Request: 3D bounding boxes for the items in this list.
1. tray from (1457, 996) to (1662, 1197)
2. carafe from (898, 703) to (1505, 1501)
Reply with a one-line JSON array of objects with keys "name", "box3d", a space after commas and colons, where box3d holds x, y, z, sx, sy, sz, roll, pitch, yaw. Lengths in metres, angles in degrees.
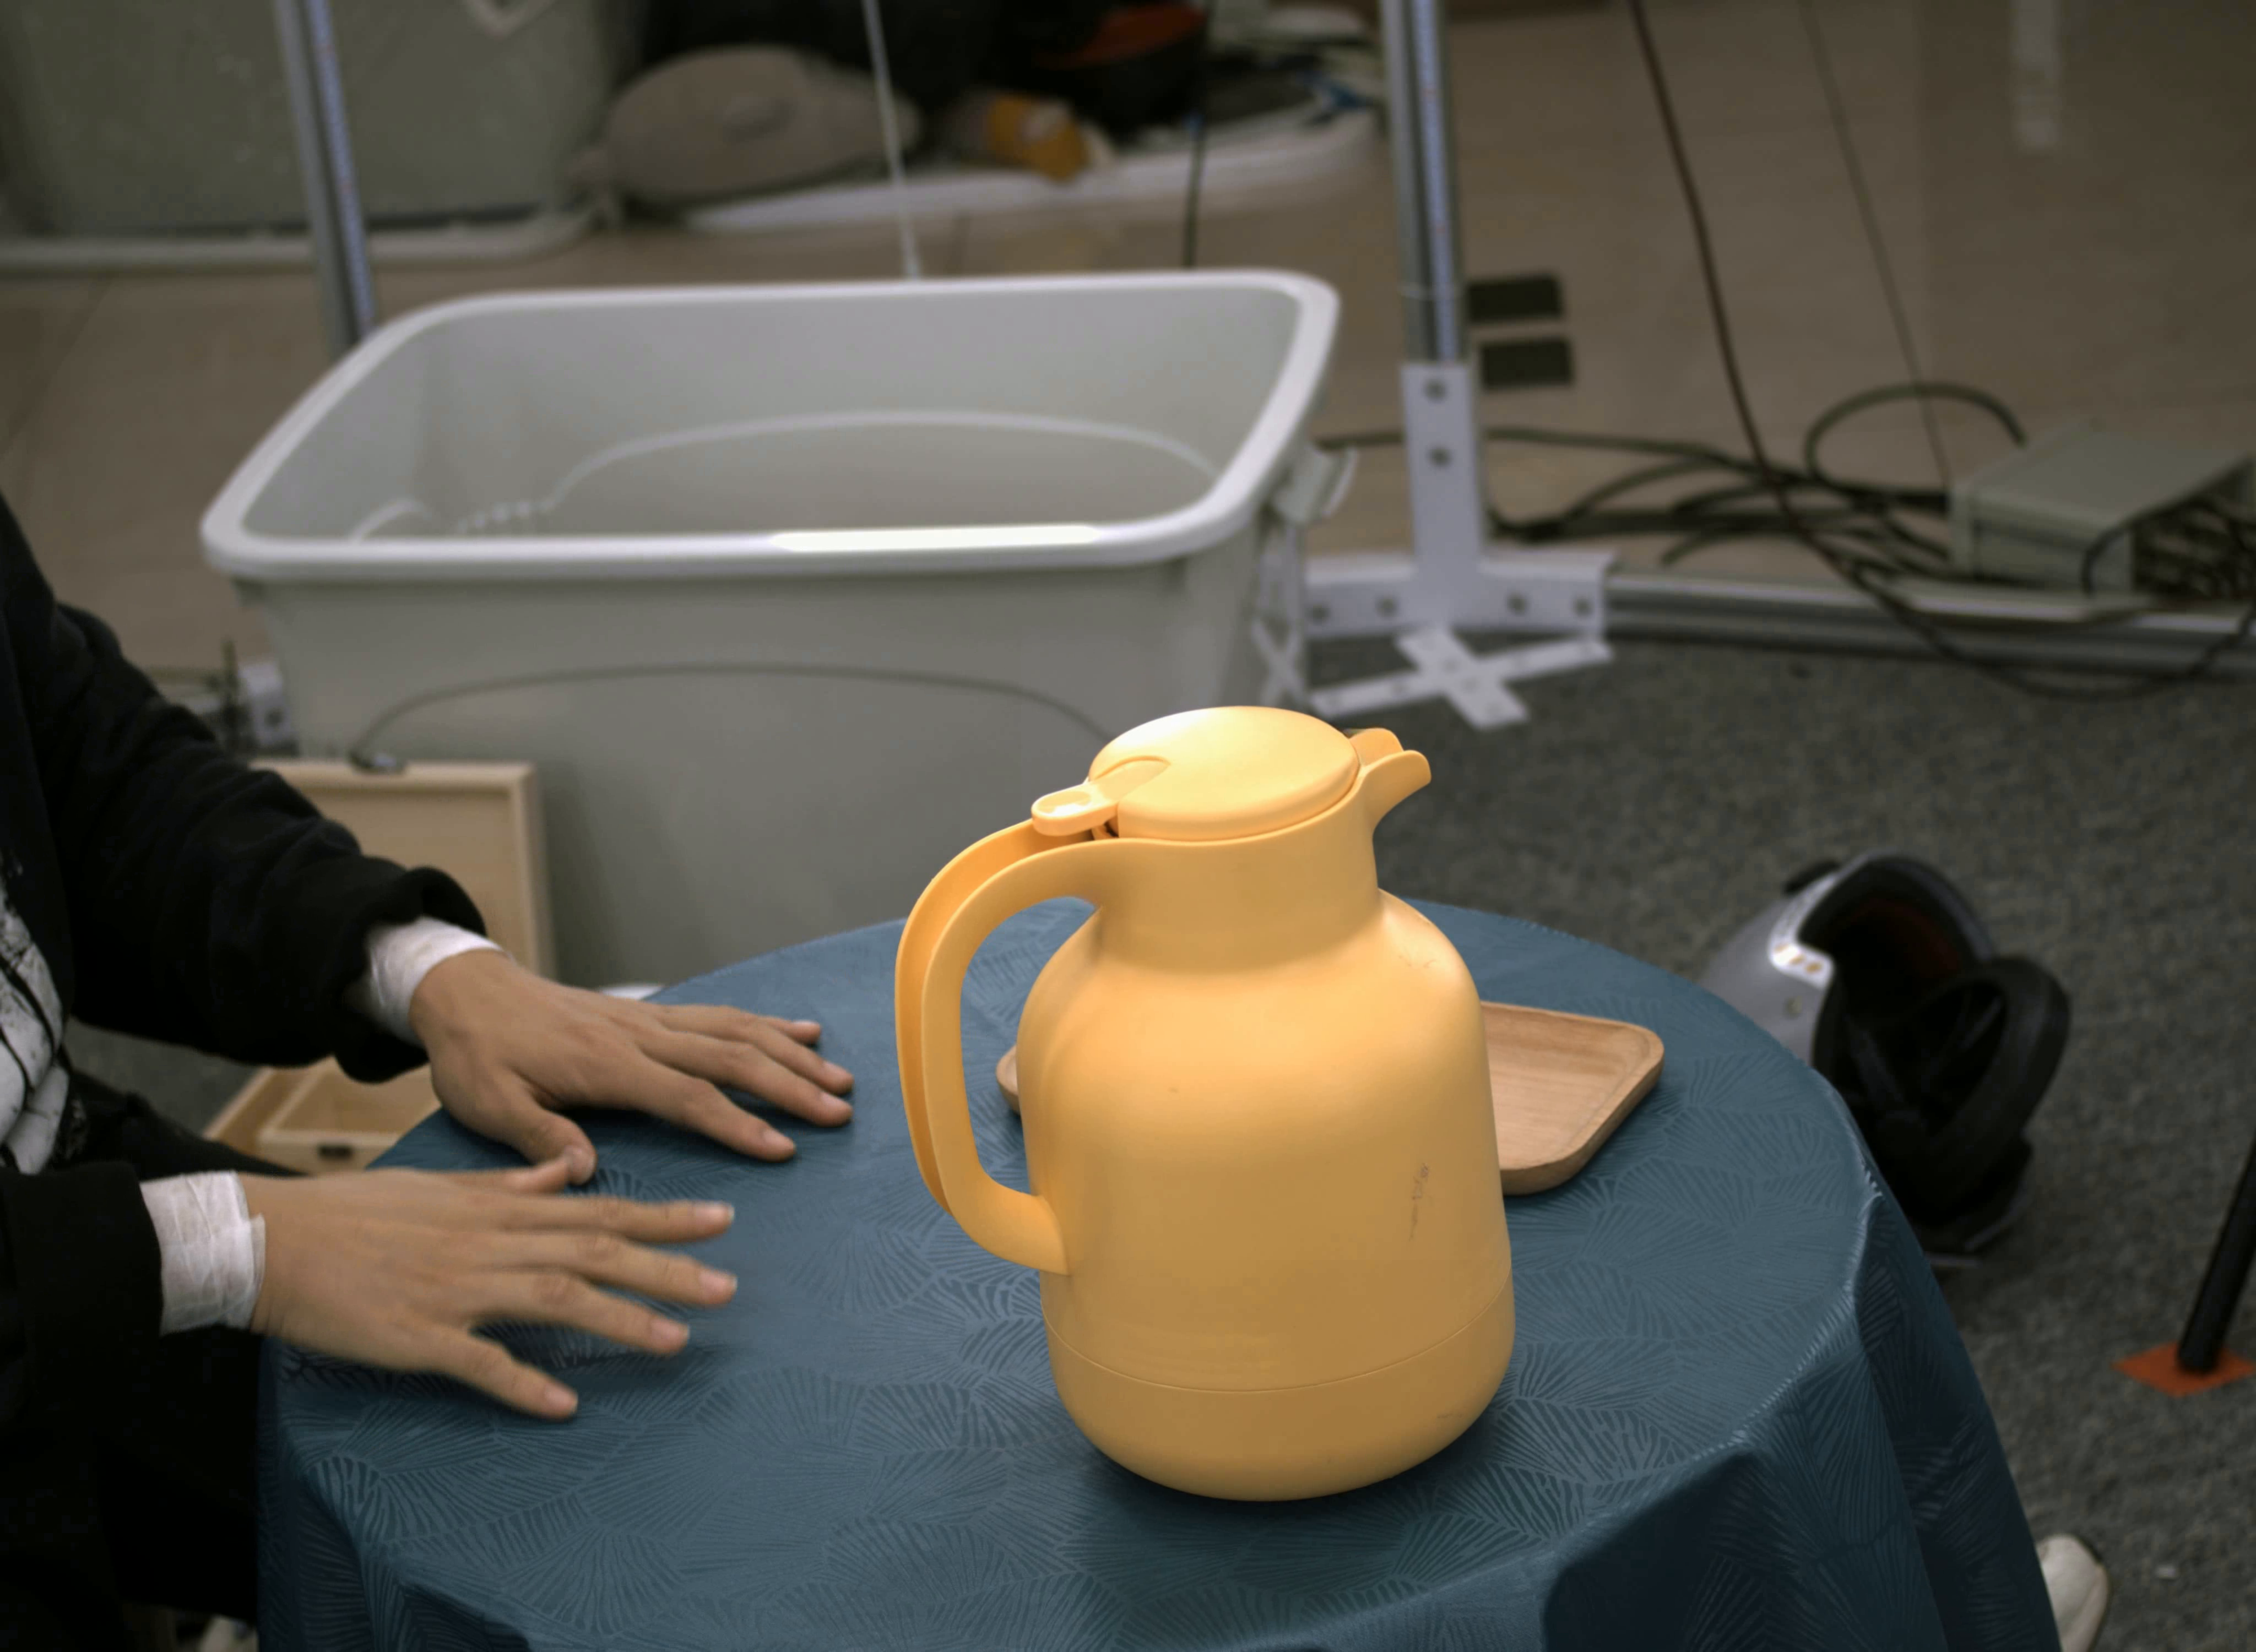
[{"name": "tray", "box3d": [0.077, 0.096, 2.204, 0.249, 0.023, 0.129, 7, 26, 29]}, {"name": "carafe", "box3d": [0.024, 0.093, 1.927, 0.202, 0.264, 0.161, -13, 24, -17]}]
